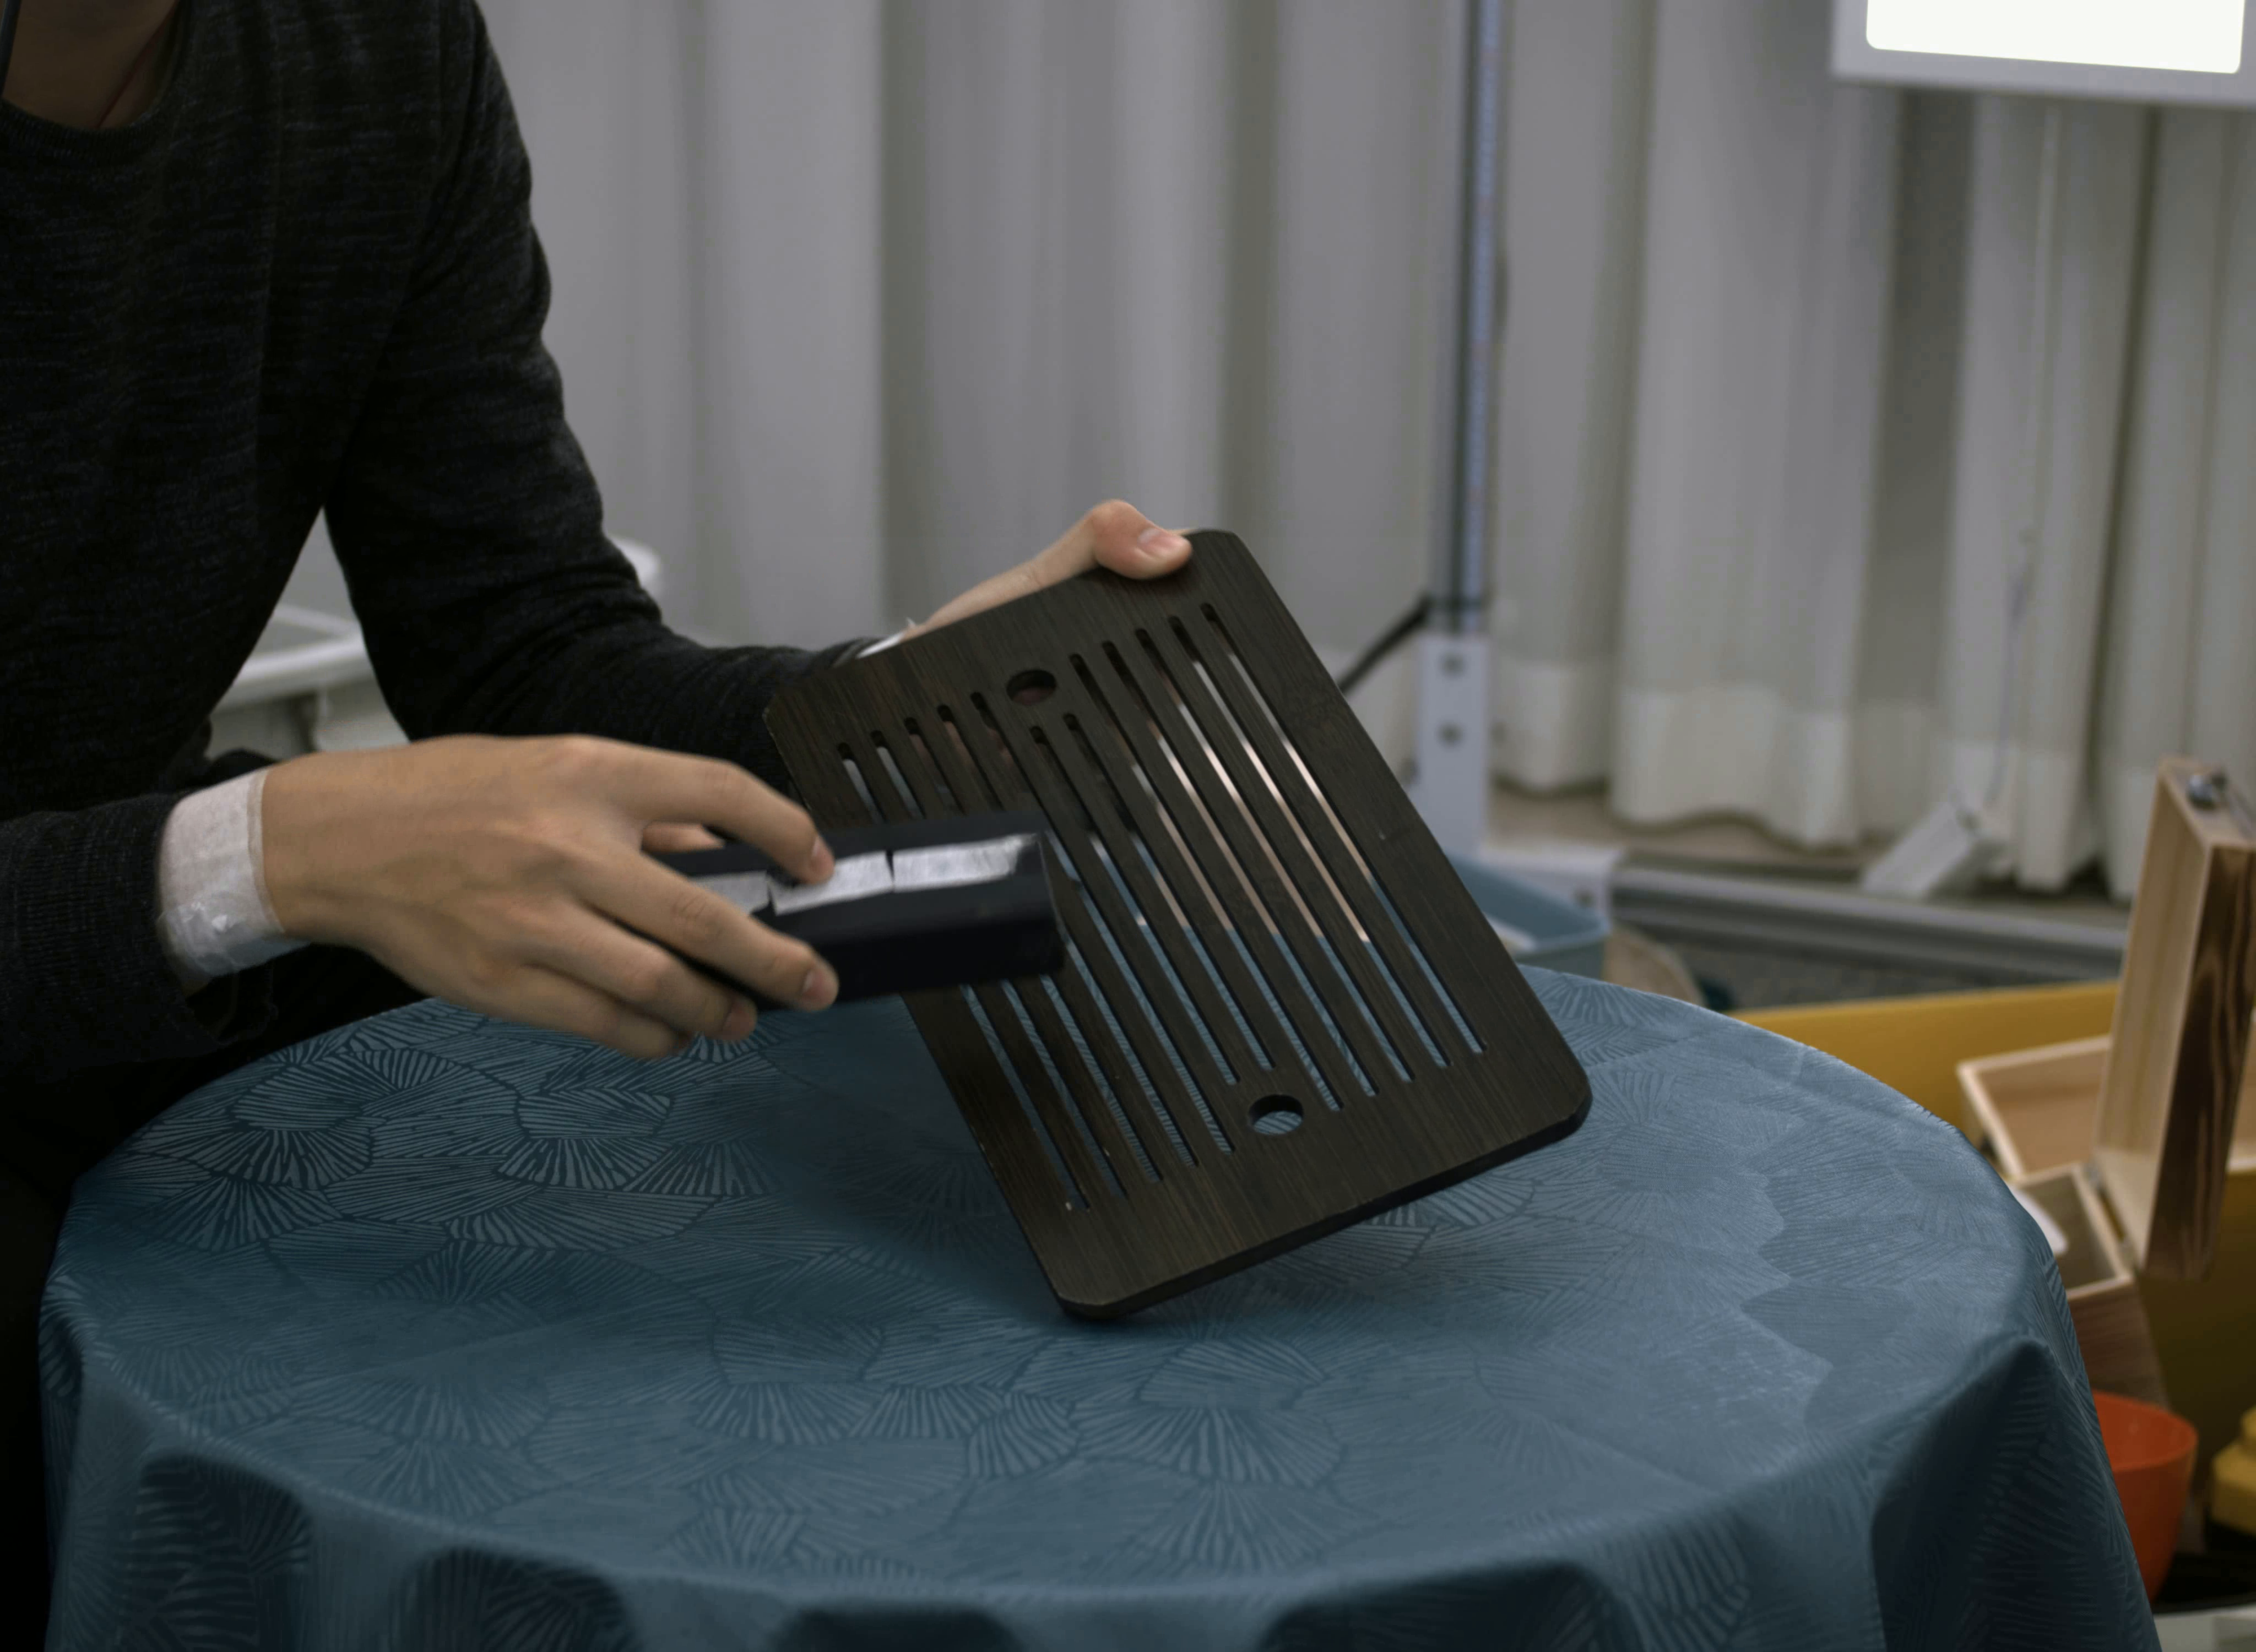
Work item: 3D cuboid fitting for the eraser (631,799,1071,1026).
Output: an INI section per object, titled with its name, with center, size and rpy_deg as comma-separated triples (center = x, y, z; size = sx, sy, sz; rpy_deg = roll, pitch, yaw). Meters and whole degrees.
[eraser]
center = -0.081, 0.025, 1.554
size = 0.125, 0.031, 0.053
rpy_deg = -9, 39, -8

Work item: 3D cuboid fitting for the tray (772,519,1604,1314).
[tray]
center = 0.012, 0.022, 1.623
size = 0.170, 0.019, 0.302
rpy_deg = -21, 44, -8
